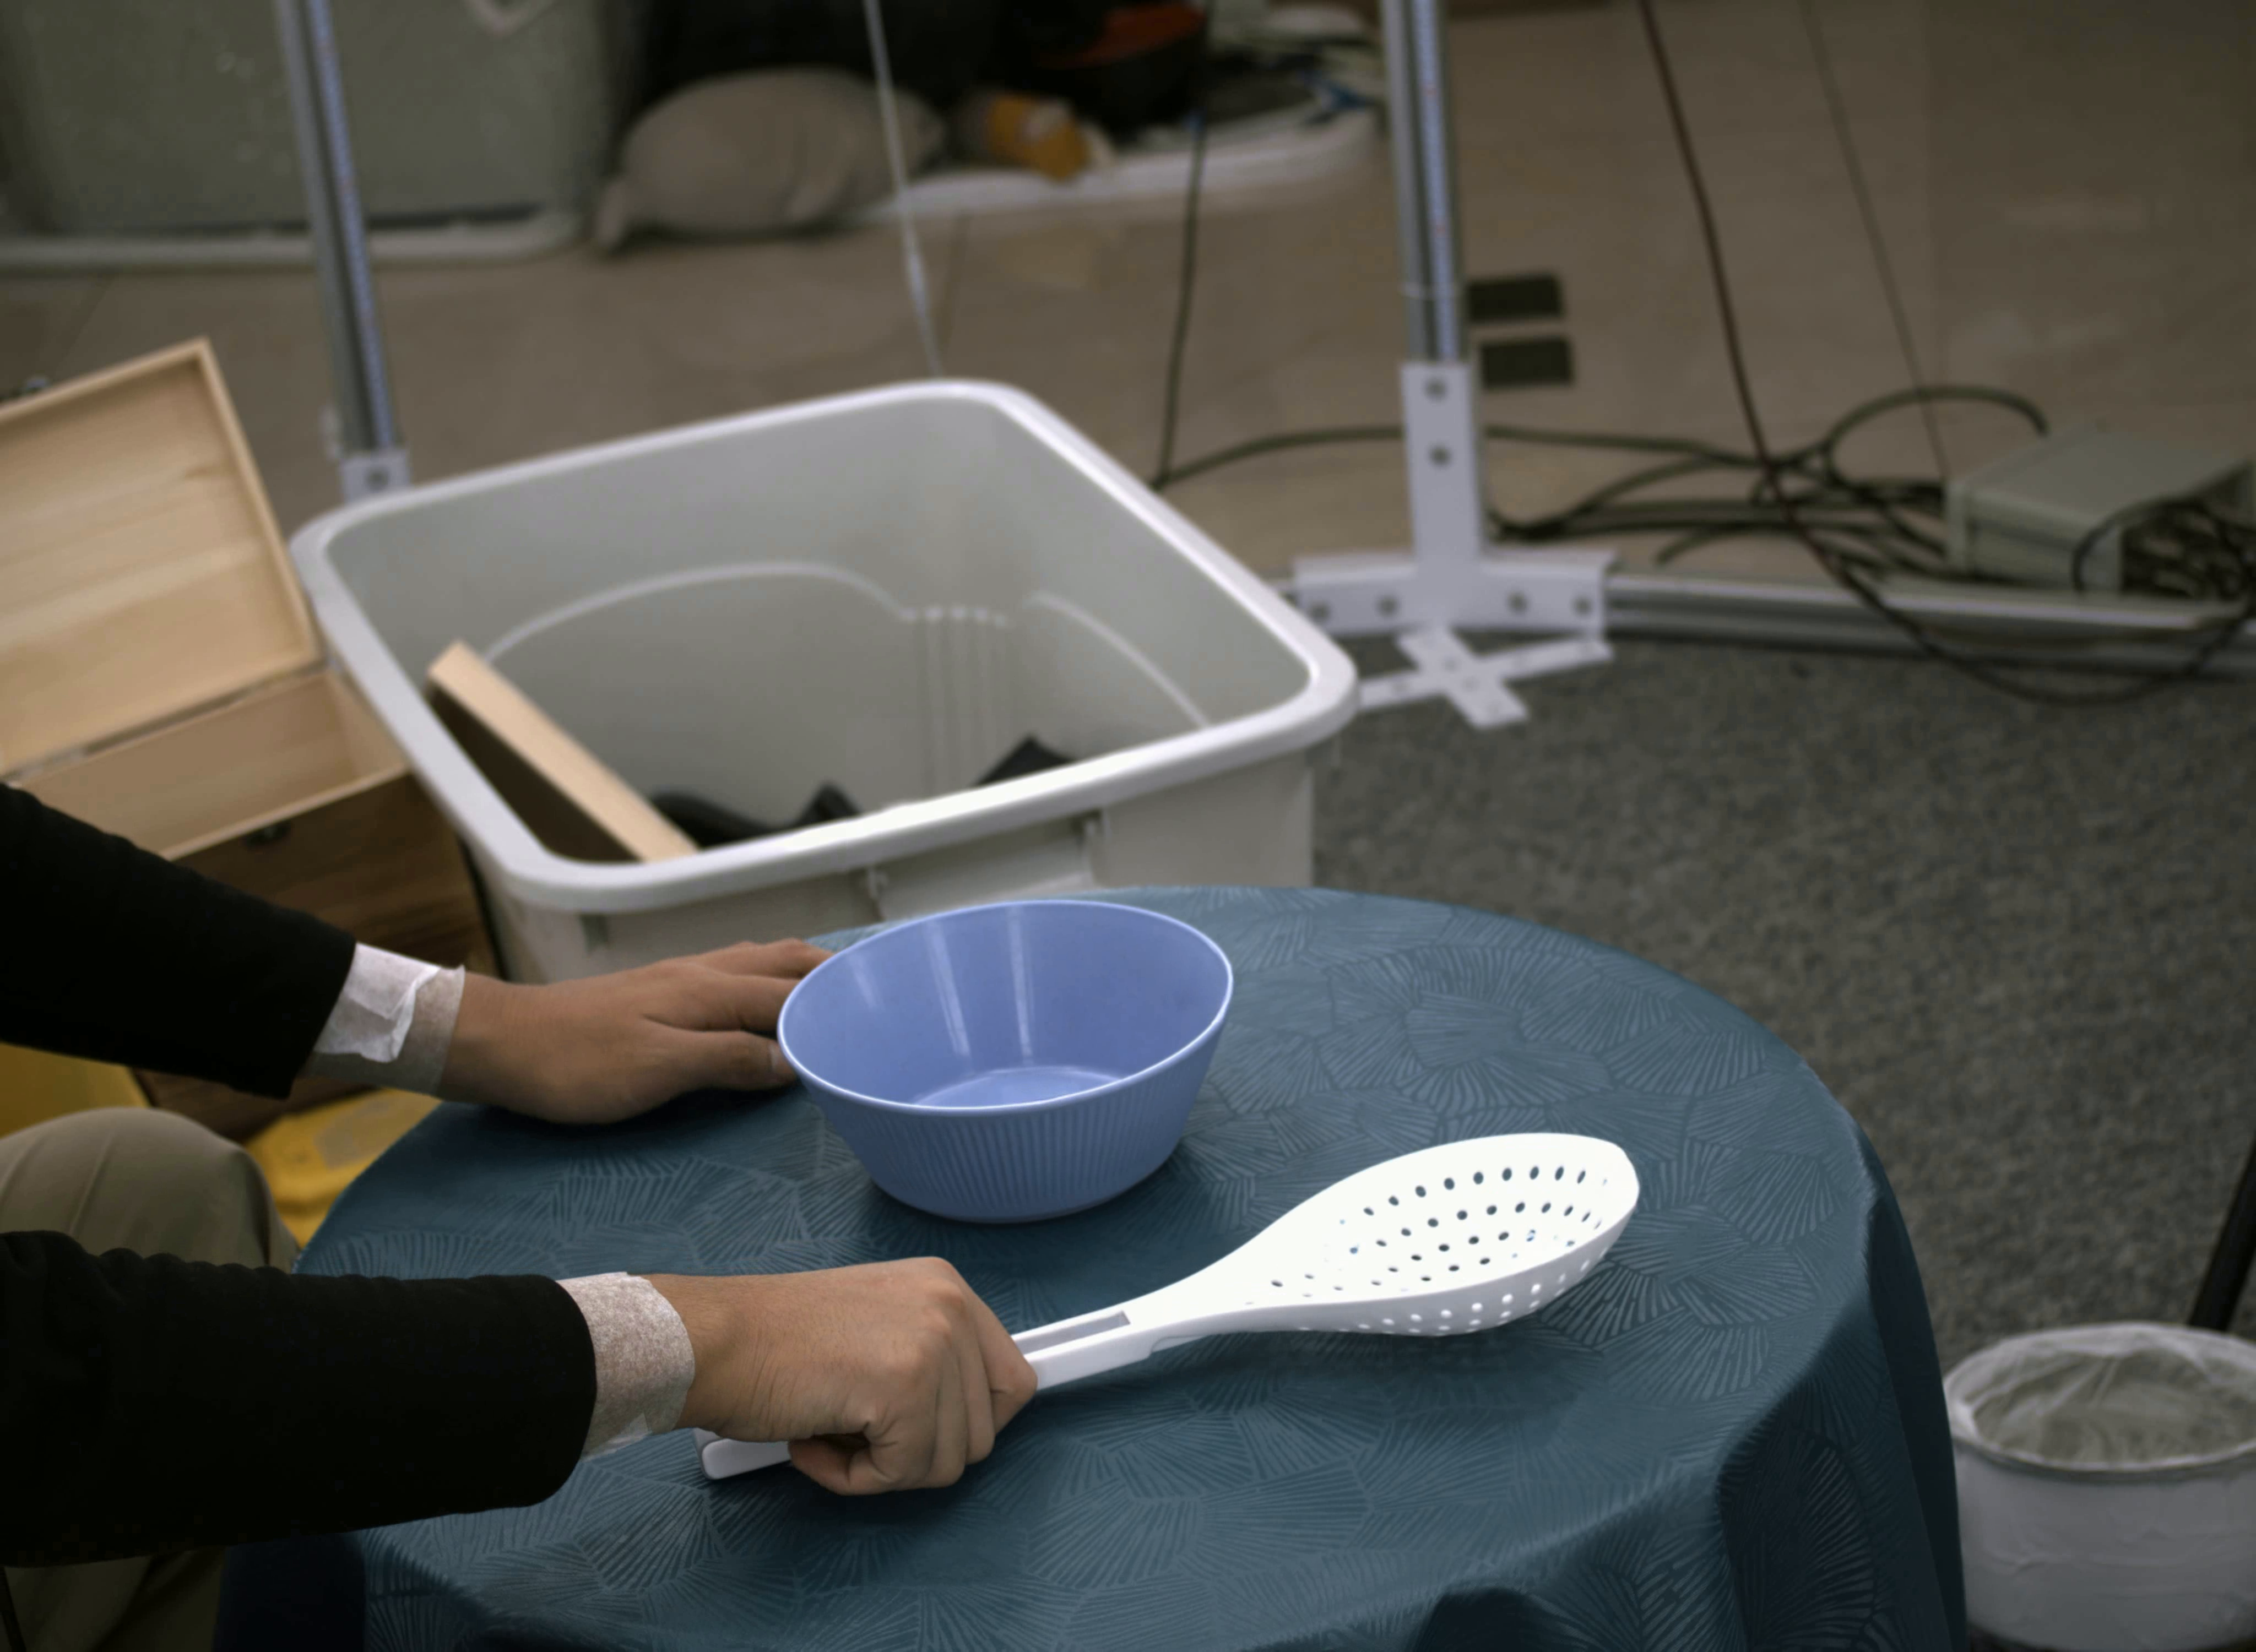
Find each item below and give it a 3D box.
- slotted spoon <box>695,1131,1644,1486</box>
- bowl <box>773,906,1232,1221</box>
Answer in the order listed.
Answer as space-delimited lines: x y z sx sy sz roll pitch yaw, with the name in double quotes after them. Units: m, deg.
0.016 0.174 2.012 0.349 0.046 0.134 -12 17 -9 "slotted spoon"
-0.044 0.096 2.167 0.176 0.071 0.173 -6 25 3 "bowl"
